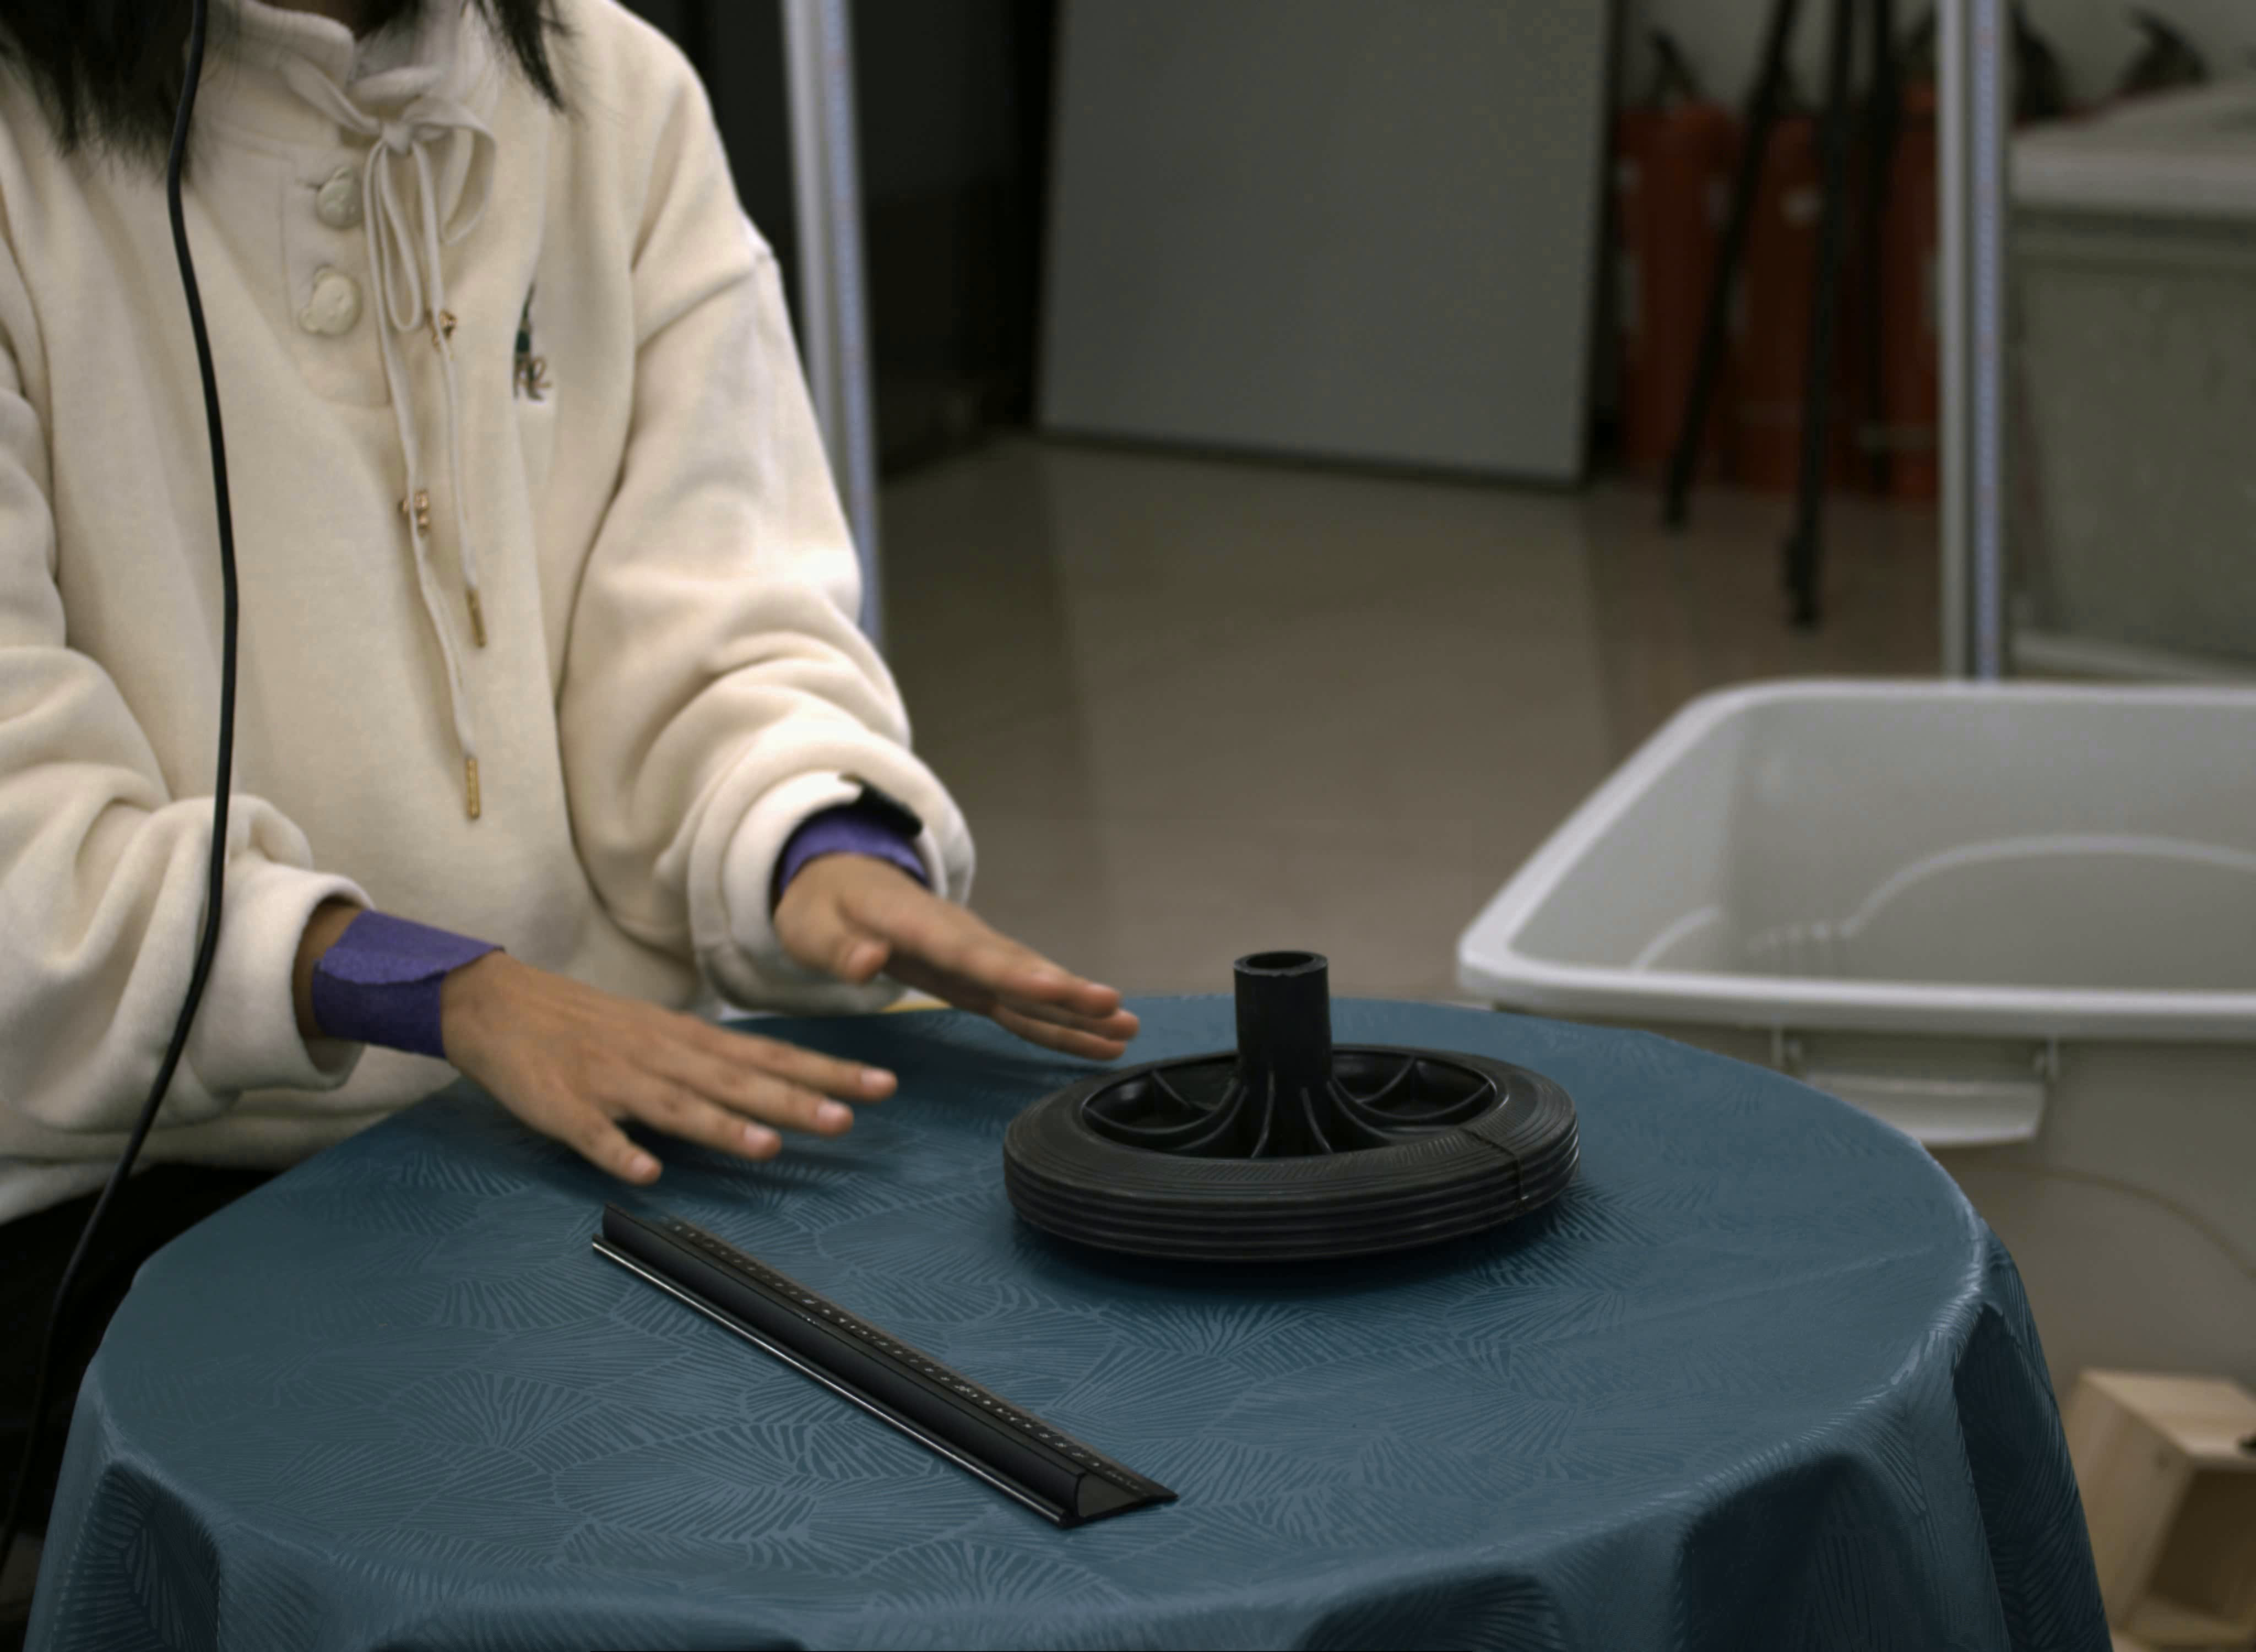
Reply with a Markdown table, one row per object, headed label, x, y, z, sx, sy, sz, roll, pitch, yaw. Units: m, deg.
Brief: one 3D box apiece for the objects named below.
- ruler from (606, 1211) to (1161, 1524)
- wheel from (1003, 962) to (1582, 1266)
| label | x | y | z | sx | sy | sz | roll | pitch | yaw |
| --- | --- | --- | --- | --- | --- | --- | --- | --- | --- |
| ruler | -0.079 | 0.156 | 1.619 | 0.038 | 0.017 | 0.316 | -6 | 13 | -28 |
| wheel | 0.052 | 0.086 | 1.736 | 0.186 | 0.080 | 0.188 | -6 | 12 | -11 |
